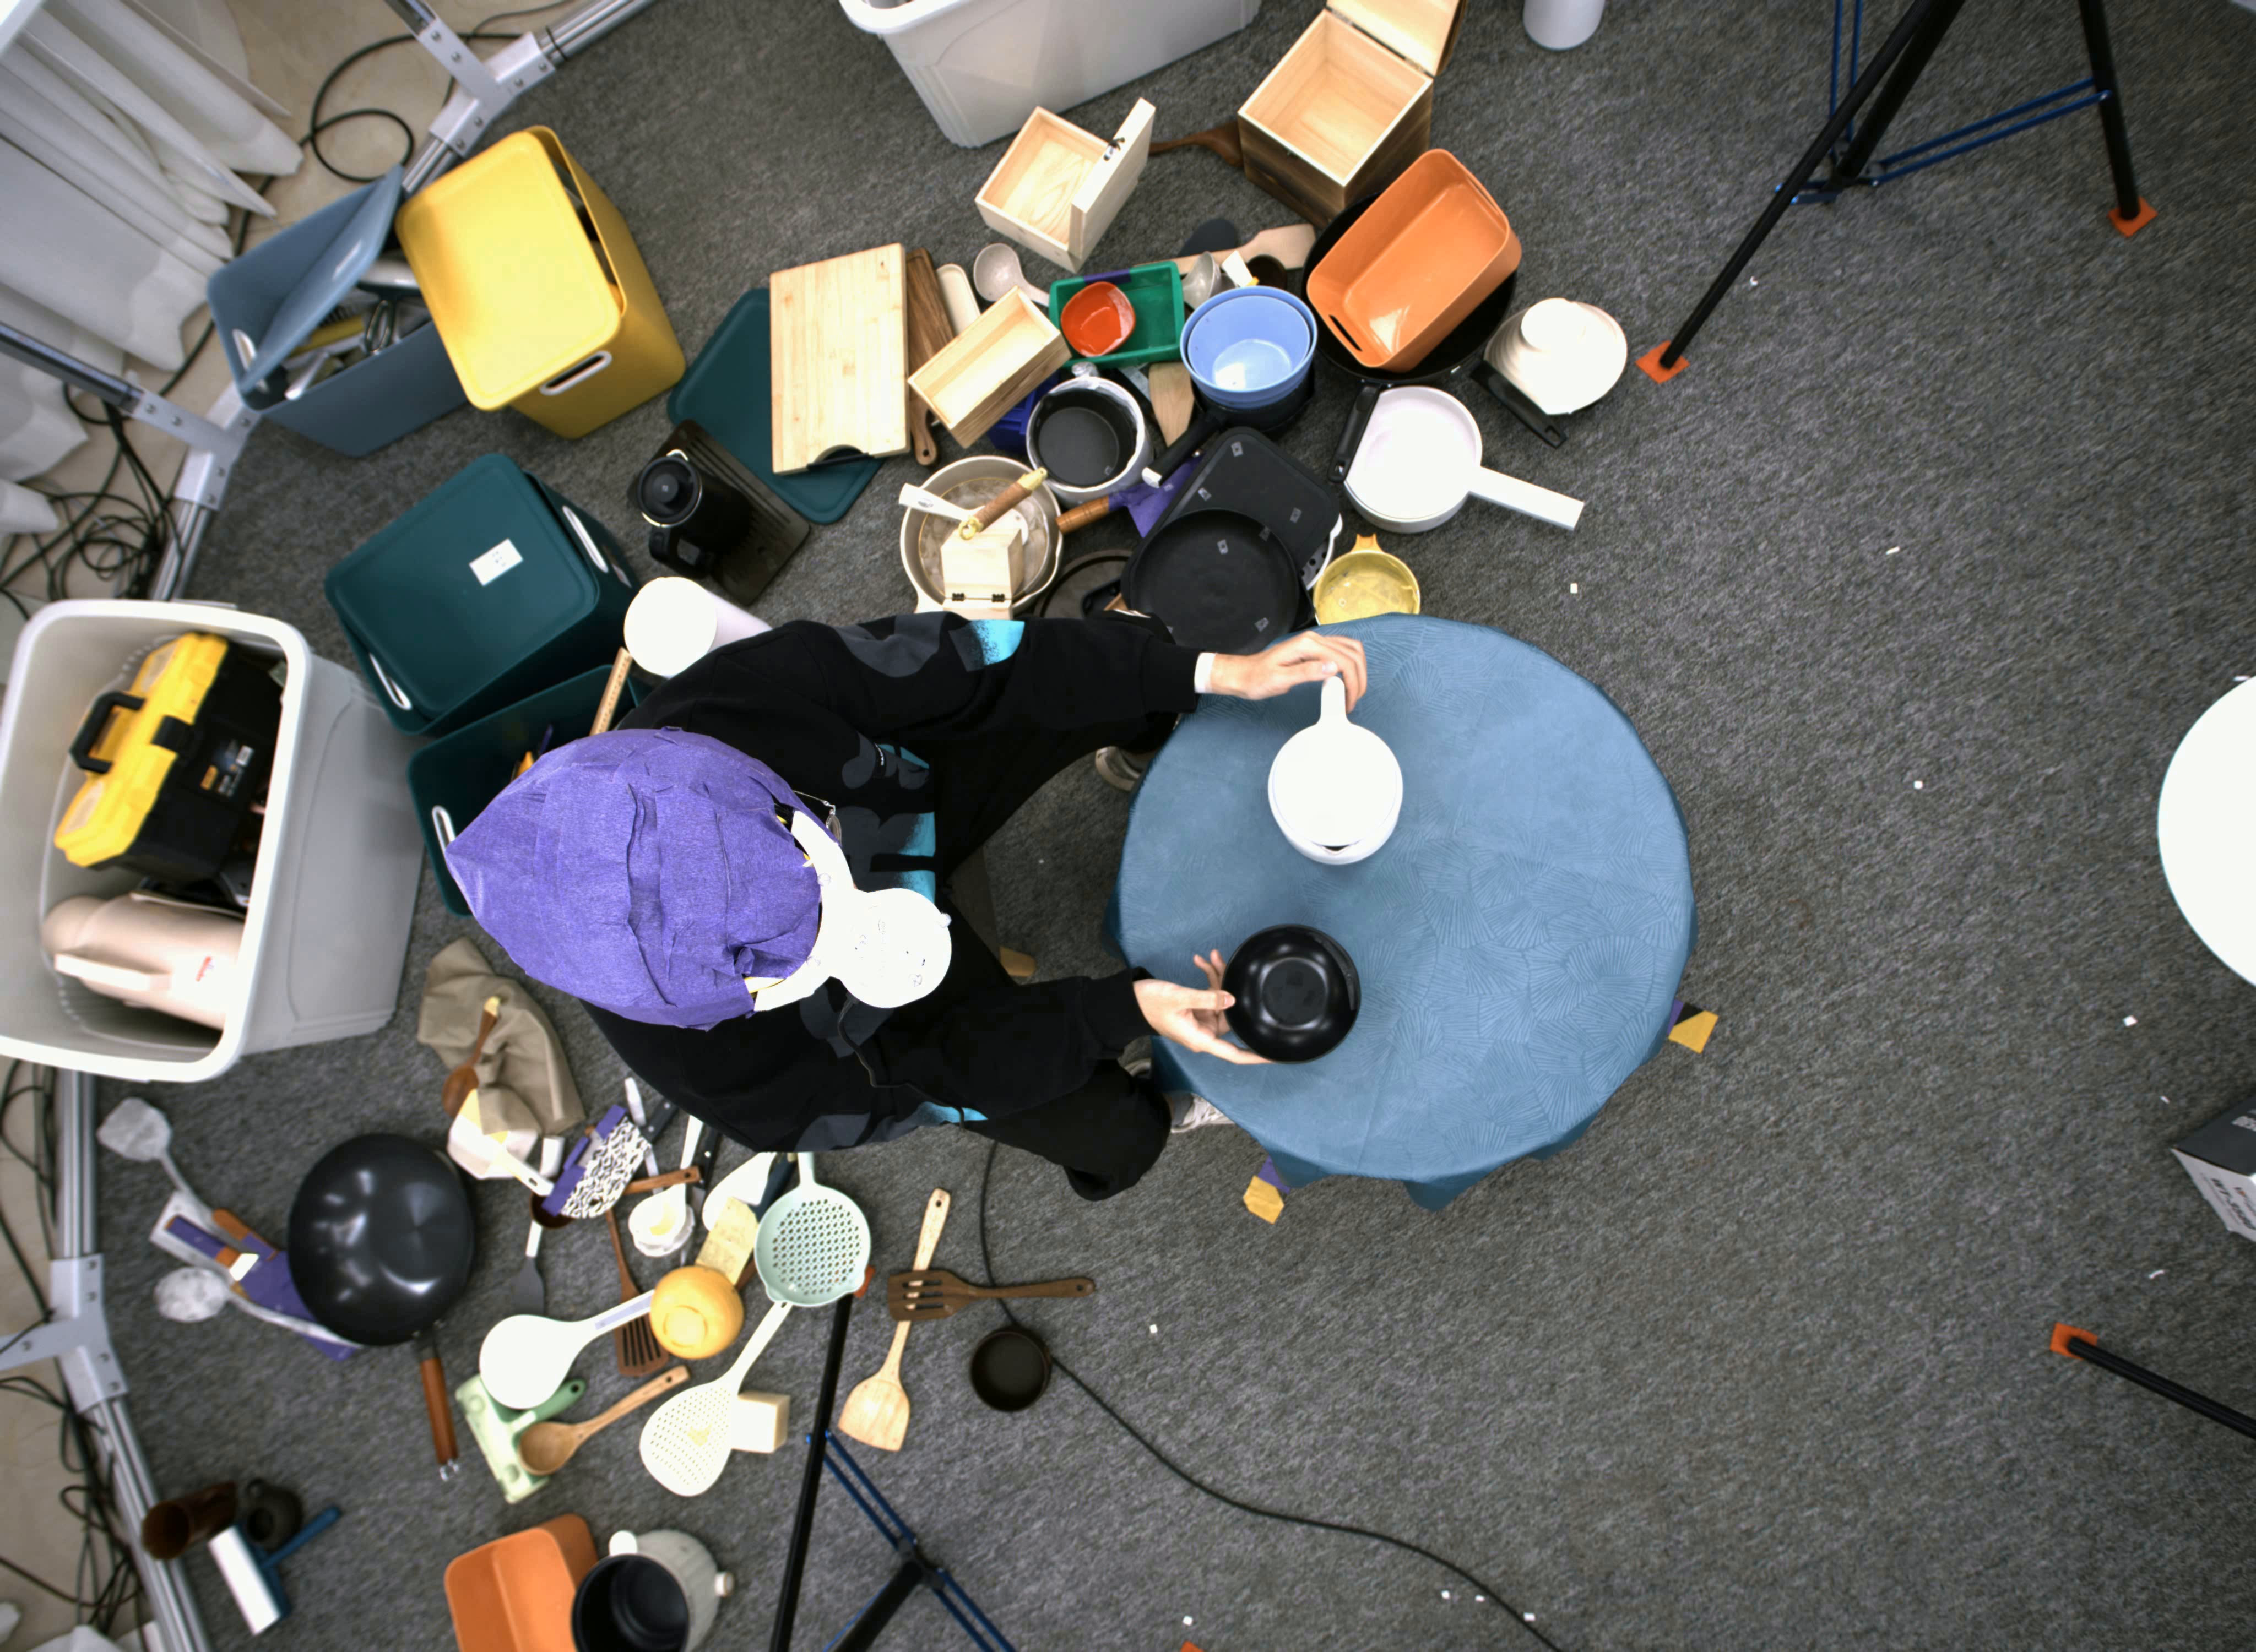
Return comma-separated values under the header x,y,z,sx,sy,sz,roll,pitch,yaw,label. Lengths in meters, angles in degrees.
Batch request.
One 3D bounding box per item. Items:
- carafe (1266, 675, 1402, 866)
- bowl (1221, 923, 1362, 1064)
x,y,z,sx,sy,sz,roll,pitch,yaw,label
0.206,-0.057,1.387,0.133,0.183,0.190,-3,83,8,carafe
0.165,0.166,1.384,0.141,0.049,0.139,-1,88,15,bowl
